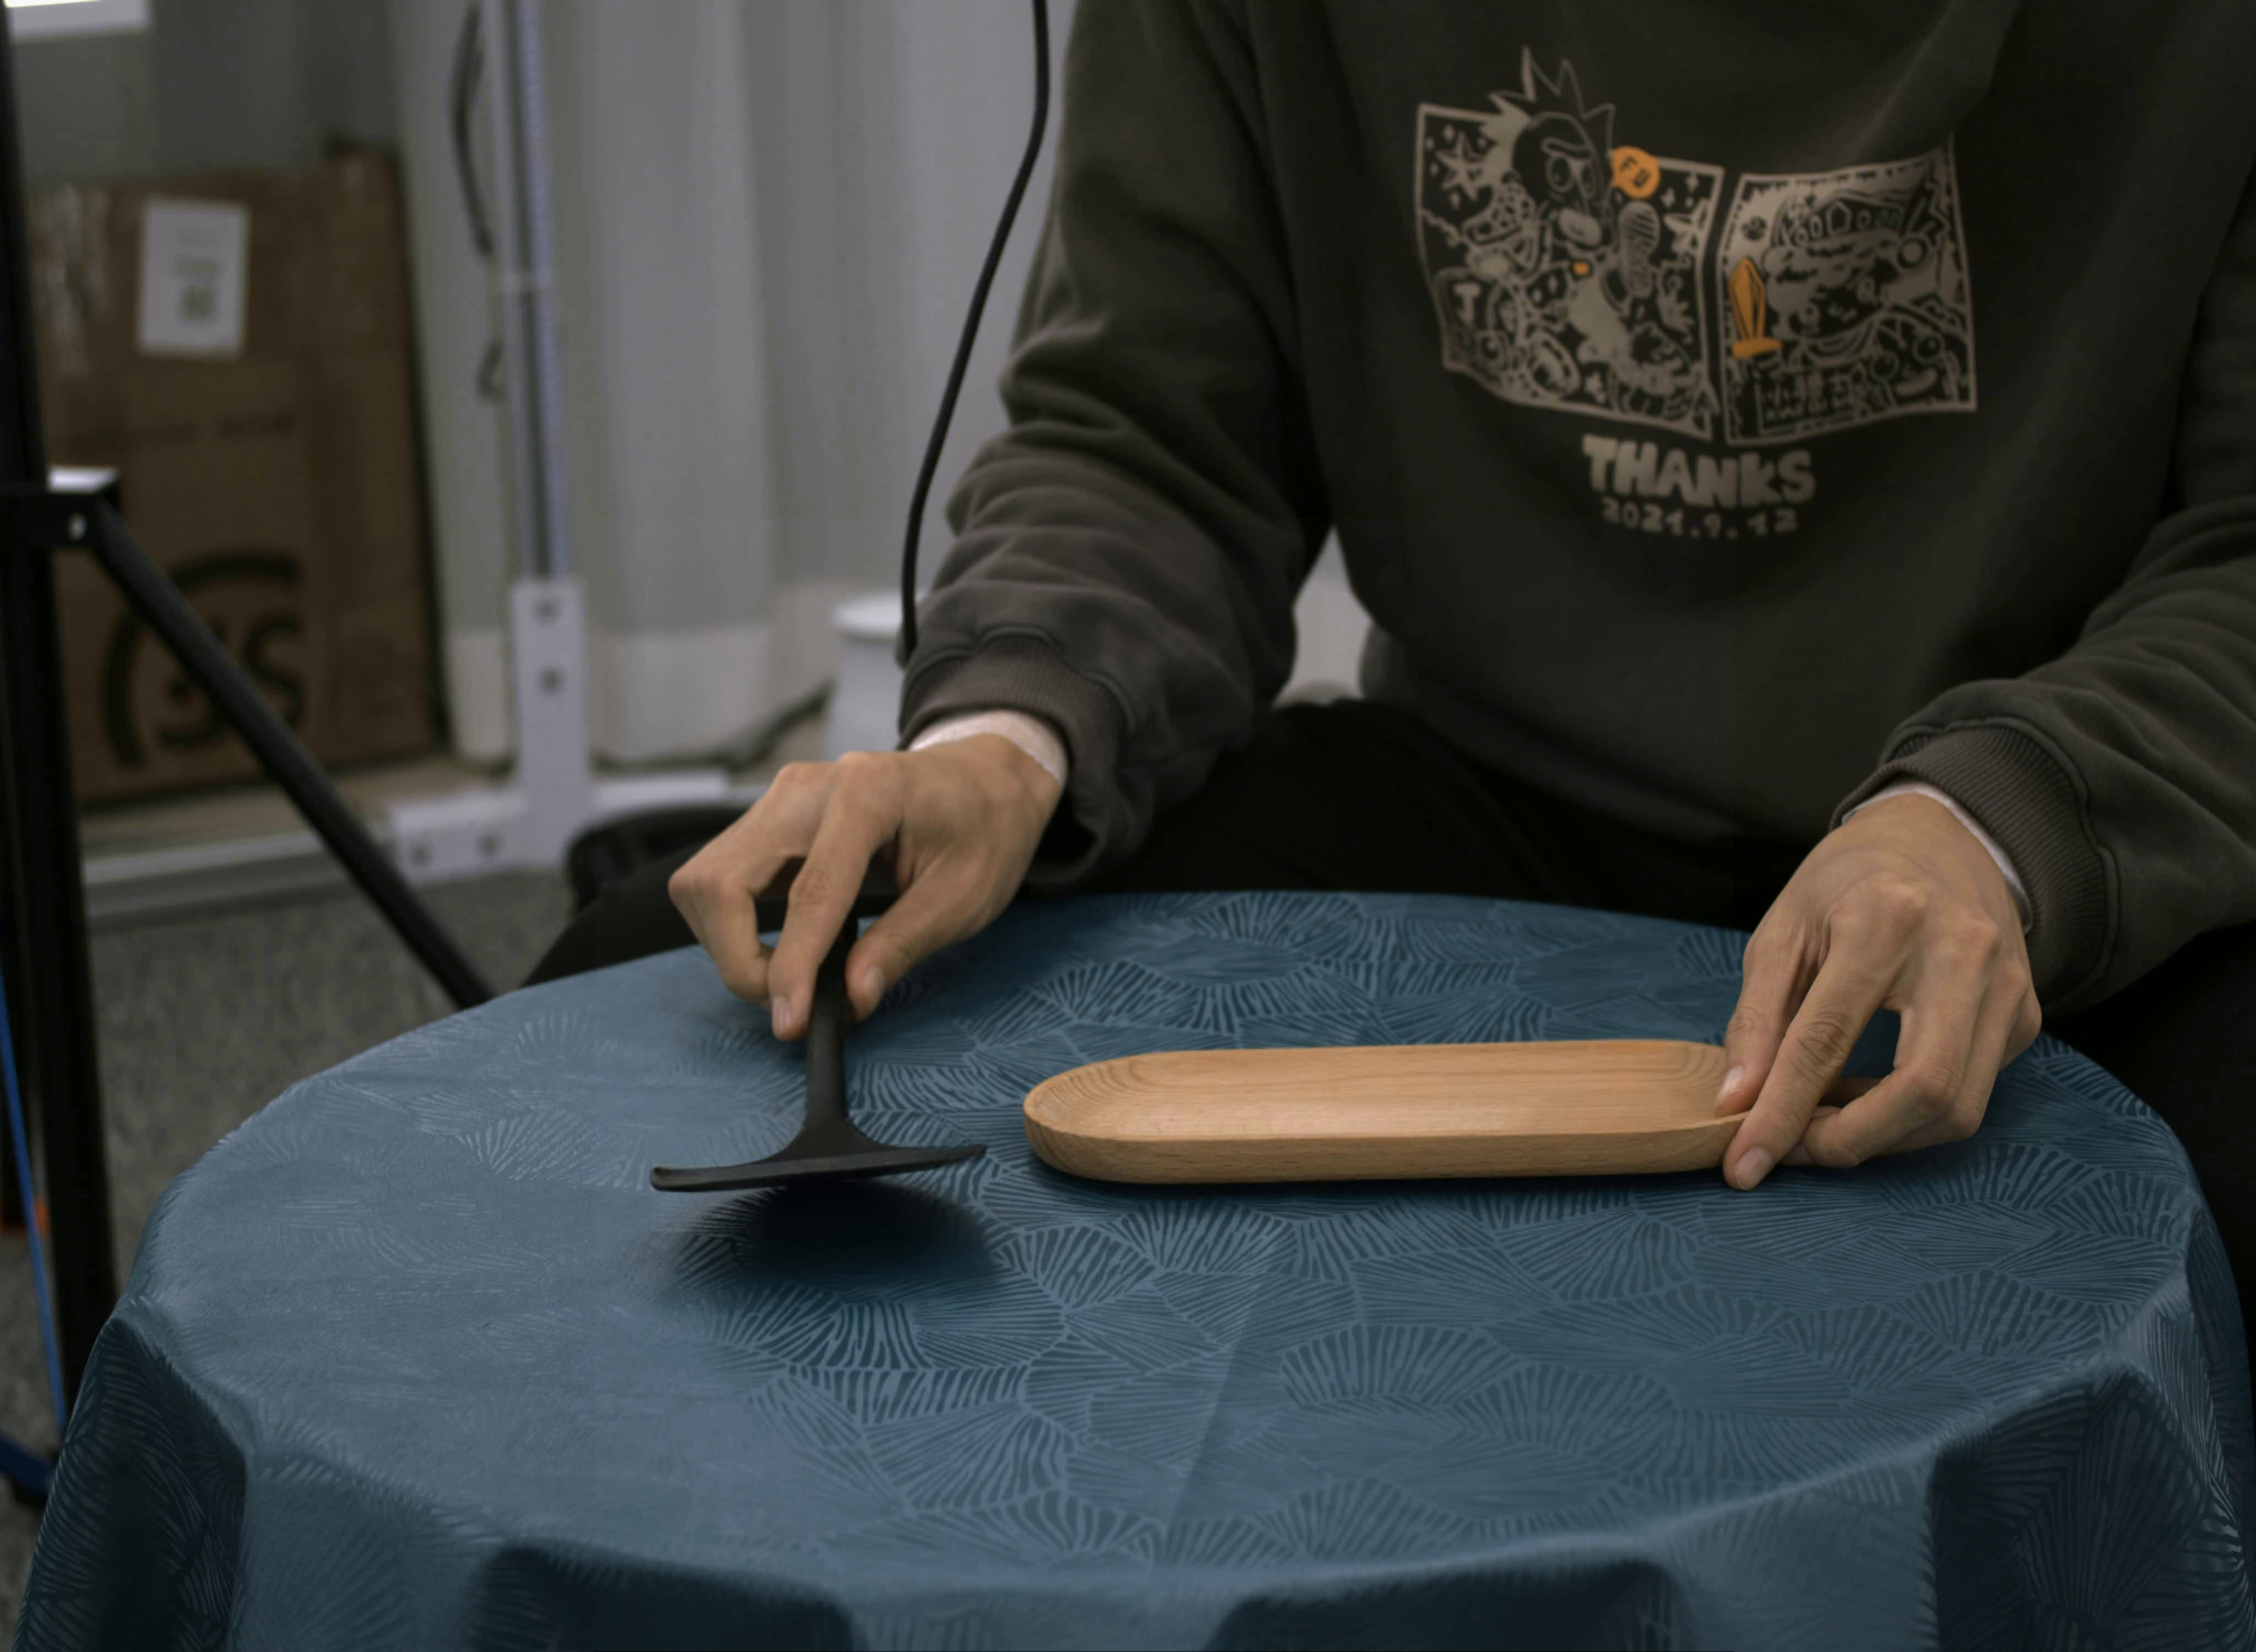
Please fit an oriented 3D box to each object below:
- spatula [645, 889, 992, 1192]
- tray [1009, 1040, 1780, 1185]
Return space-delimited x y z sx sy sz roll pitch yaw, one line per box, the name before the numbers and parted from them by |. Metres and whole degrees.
spatula | -0.095 0.063 1.654 0.099 0.040 0.328 -5 19 -2
tray | 0.080 0.087 1.590 0.231 0.020 0.101 -2 12 6
